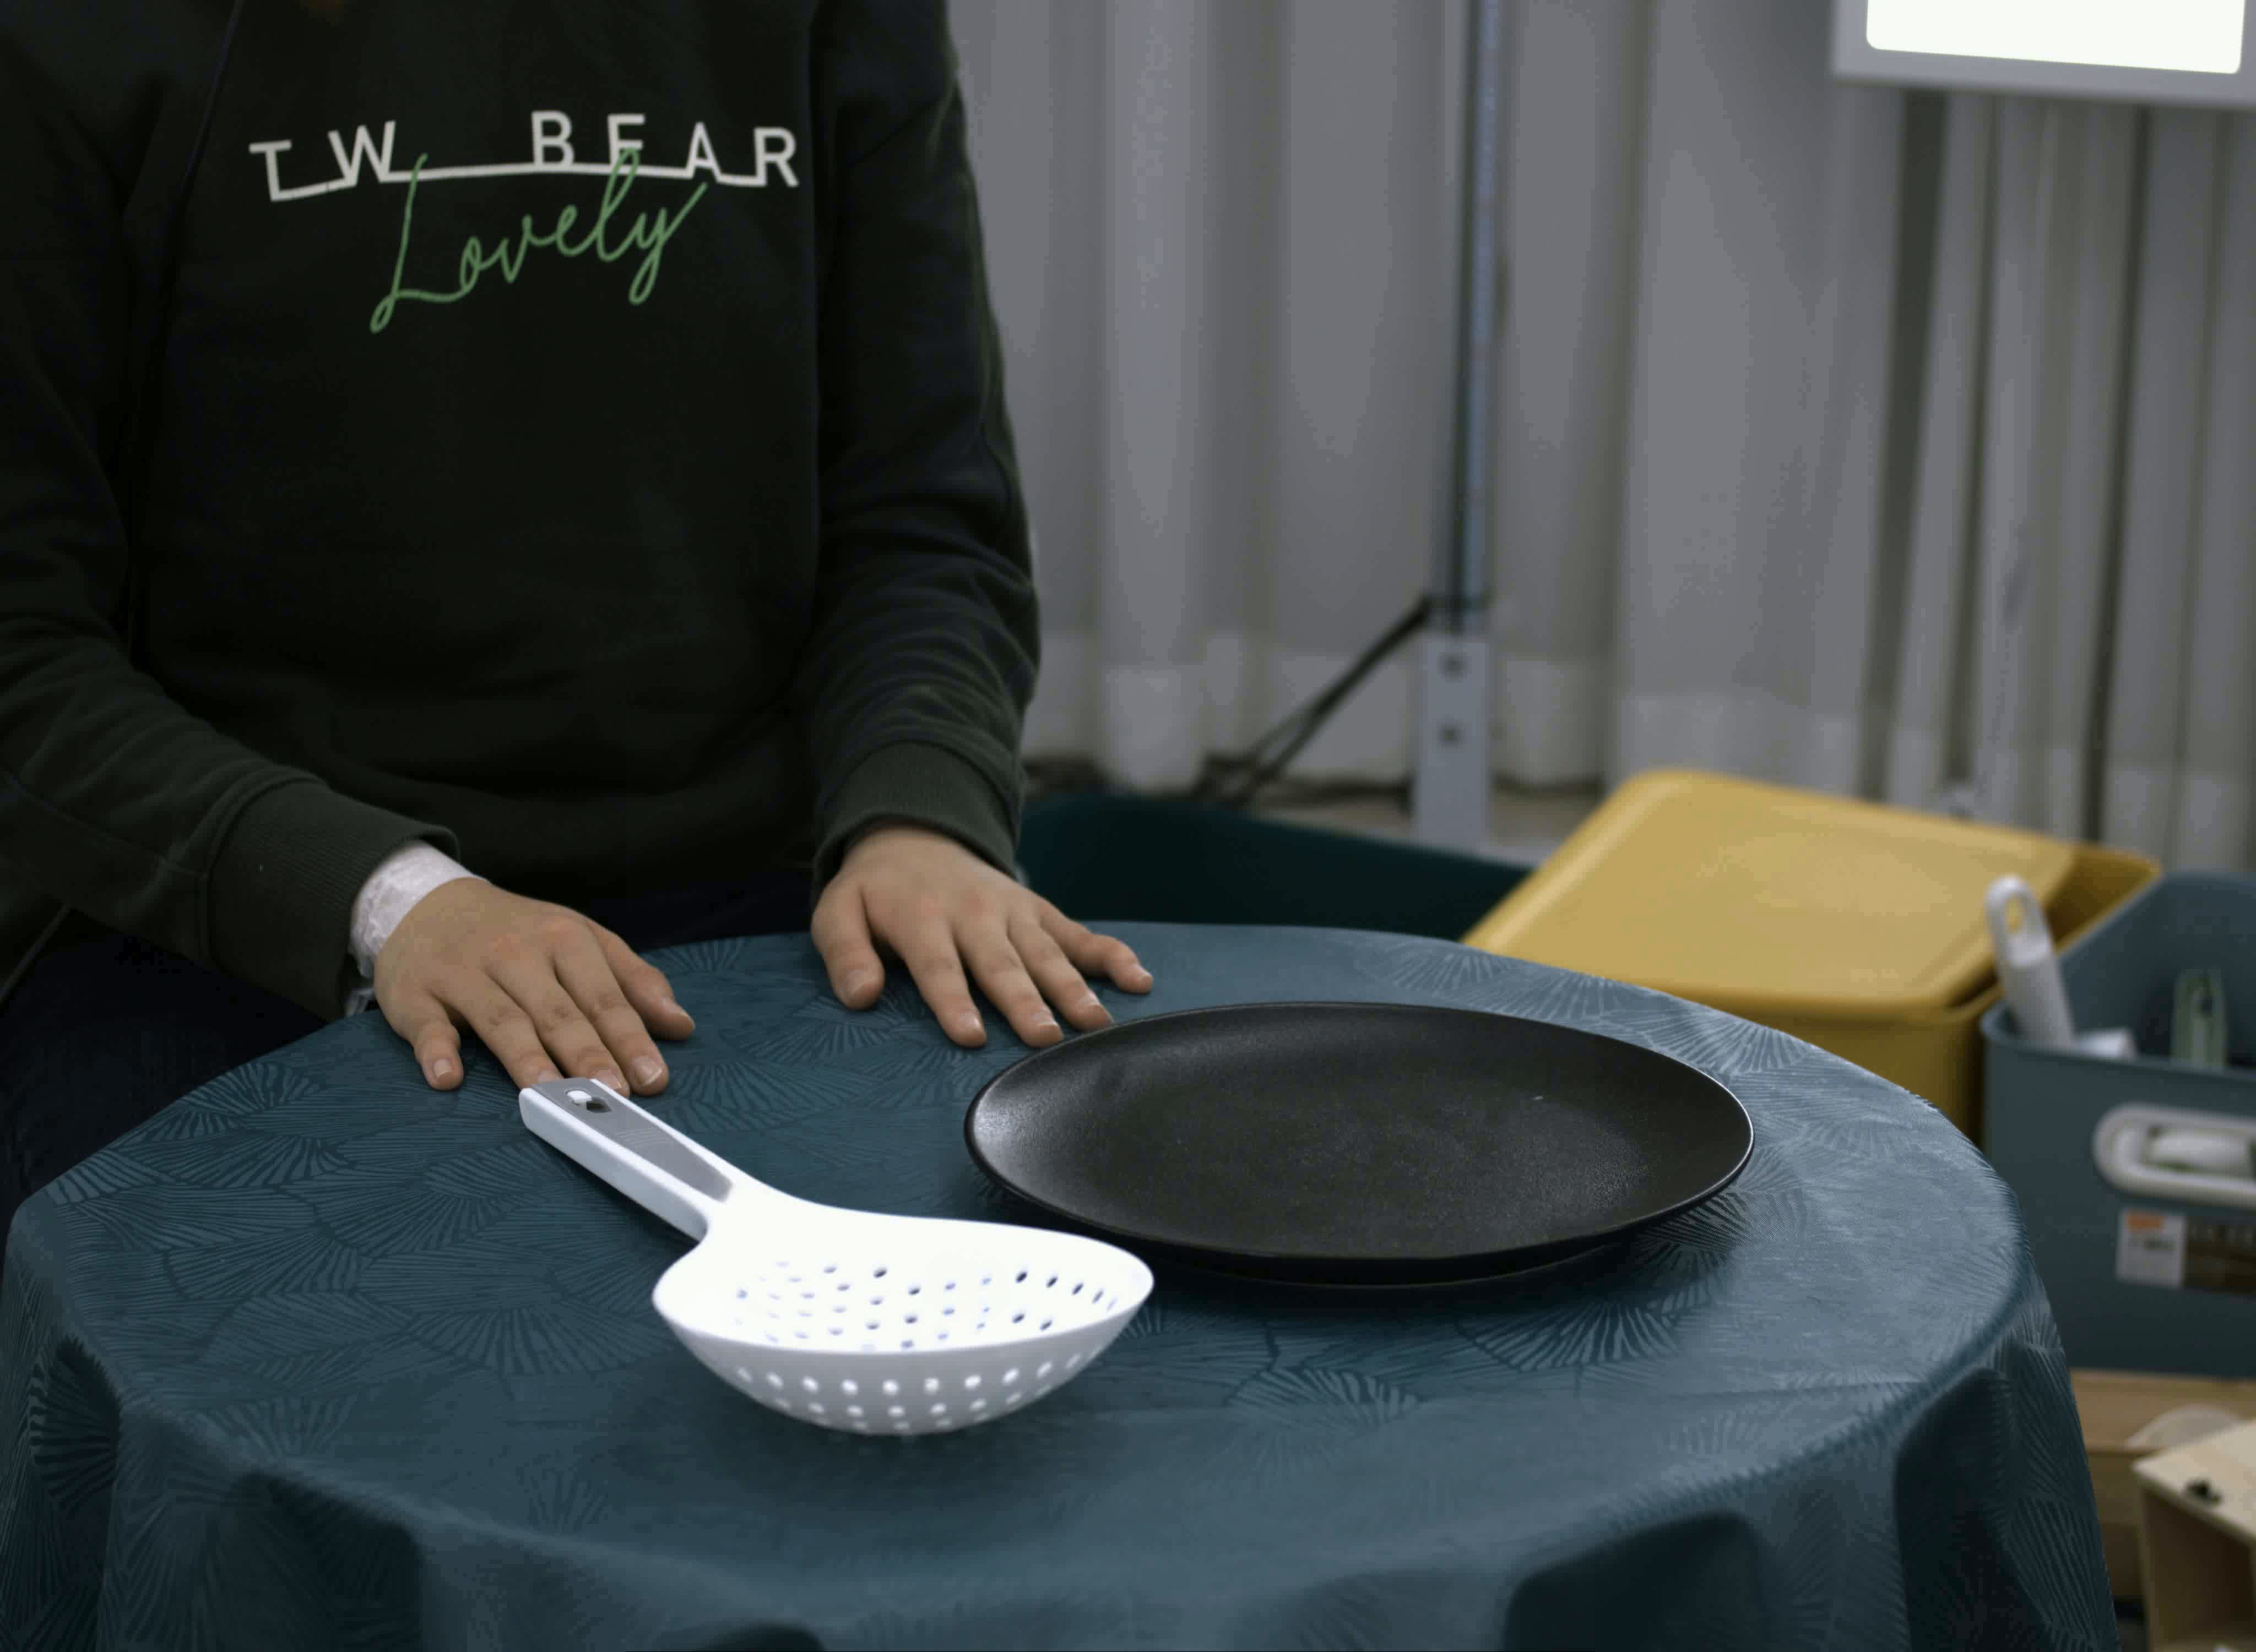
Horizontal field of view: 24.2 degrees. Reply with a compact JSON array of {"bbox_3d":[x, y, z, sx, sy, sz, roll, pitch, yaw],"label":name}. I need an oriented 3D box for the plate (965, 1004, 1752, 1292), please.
[{"bbox_3d":[0.071,0.101,1.628,0.243,0.023,0.243,1,16,0],"label":"plate"}]

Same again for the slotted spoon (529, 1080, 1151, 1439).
[{"bbox_3d":[-0.107,0.116,1.527,0.136,0.046,0.345,-5,16,-25],"label":"slotted spoon"}]
